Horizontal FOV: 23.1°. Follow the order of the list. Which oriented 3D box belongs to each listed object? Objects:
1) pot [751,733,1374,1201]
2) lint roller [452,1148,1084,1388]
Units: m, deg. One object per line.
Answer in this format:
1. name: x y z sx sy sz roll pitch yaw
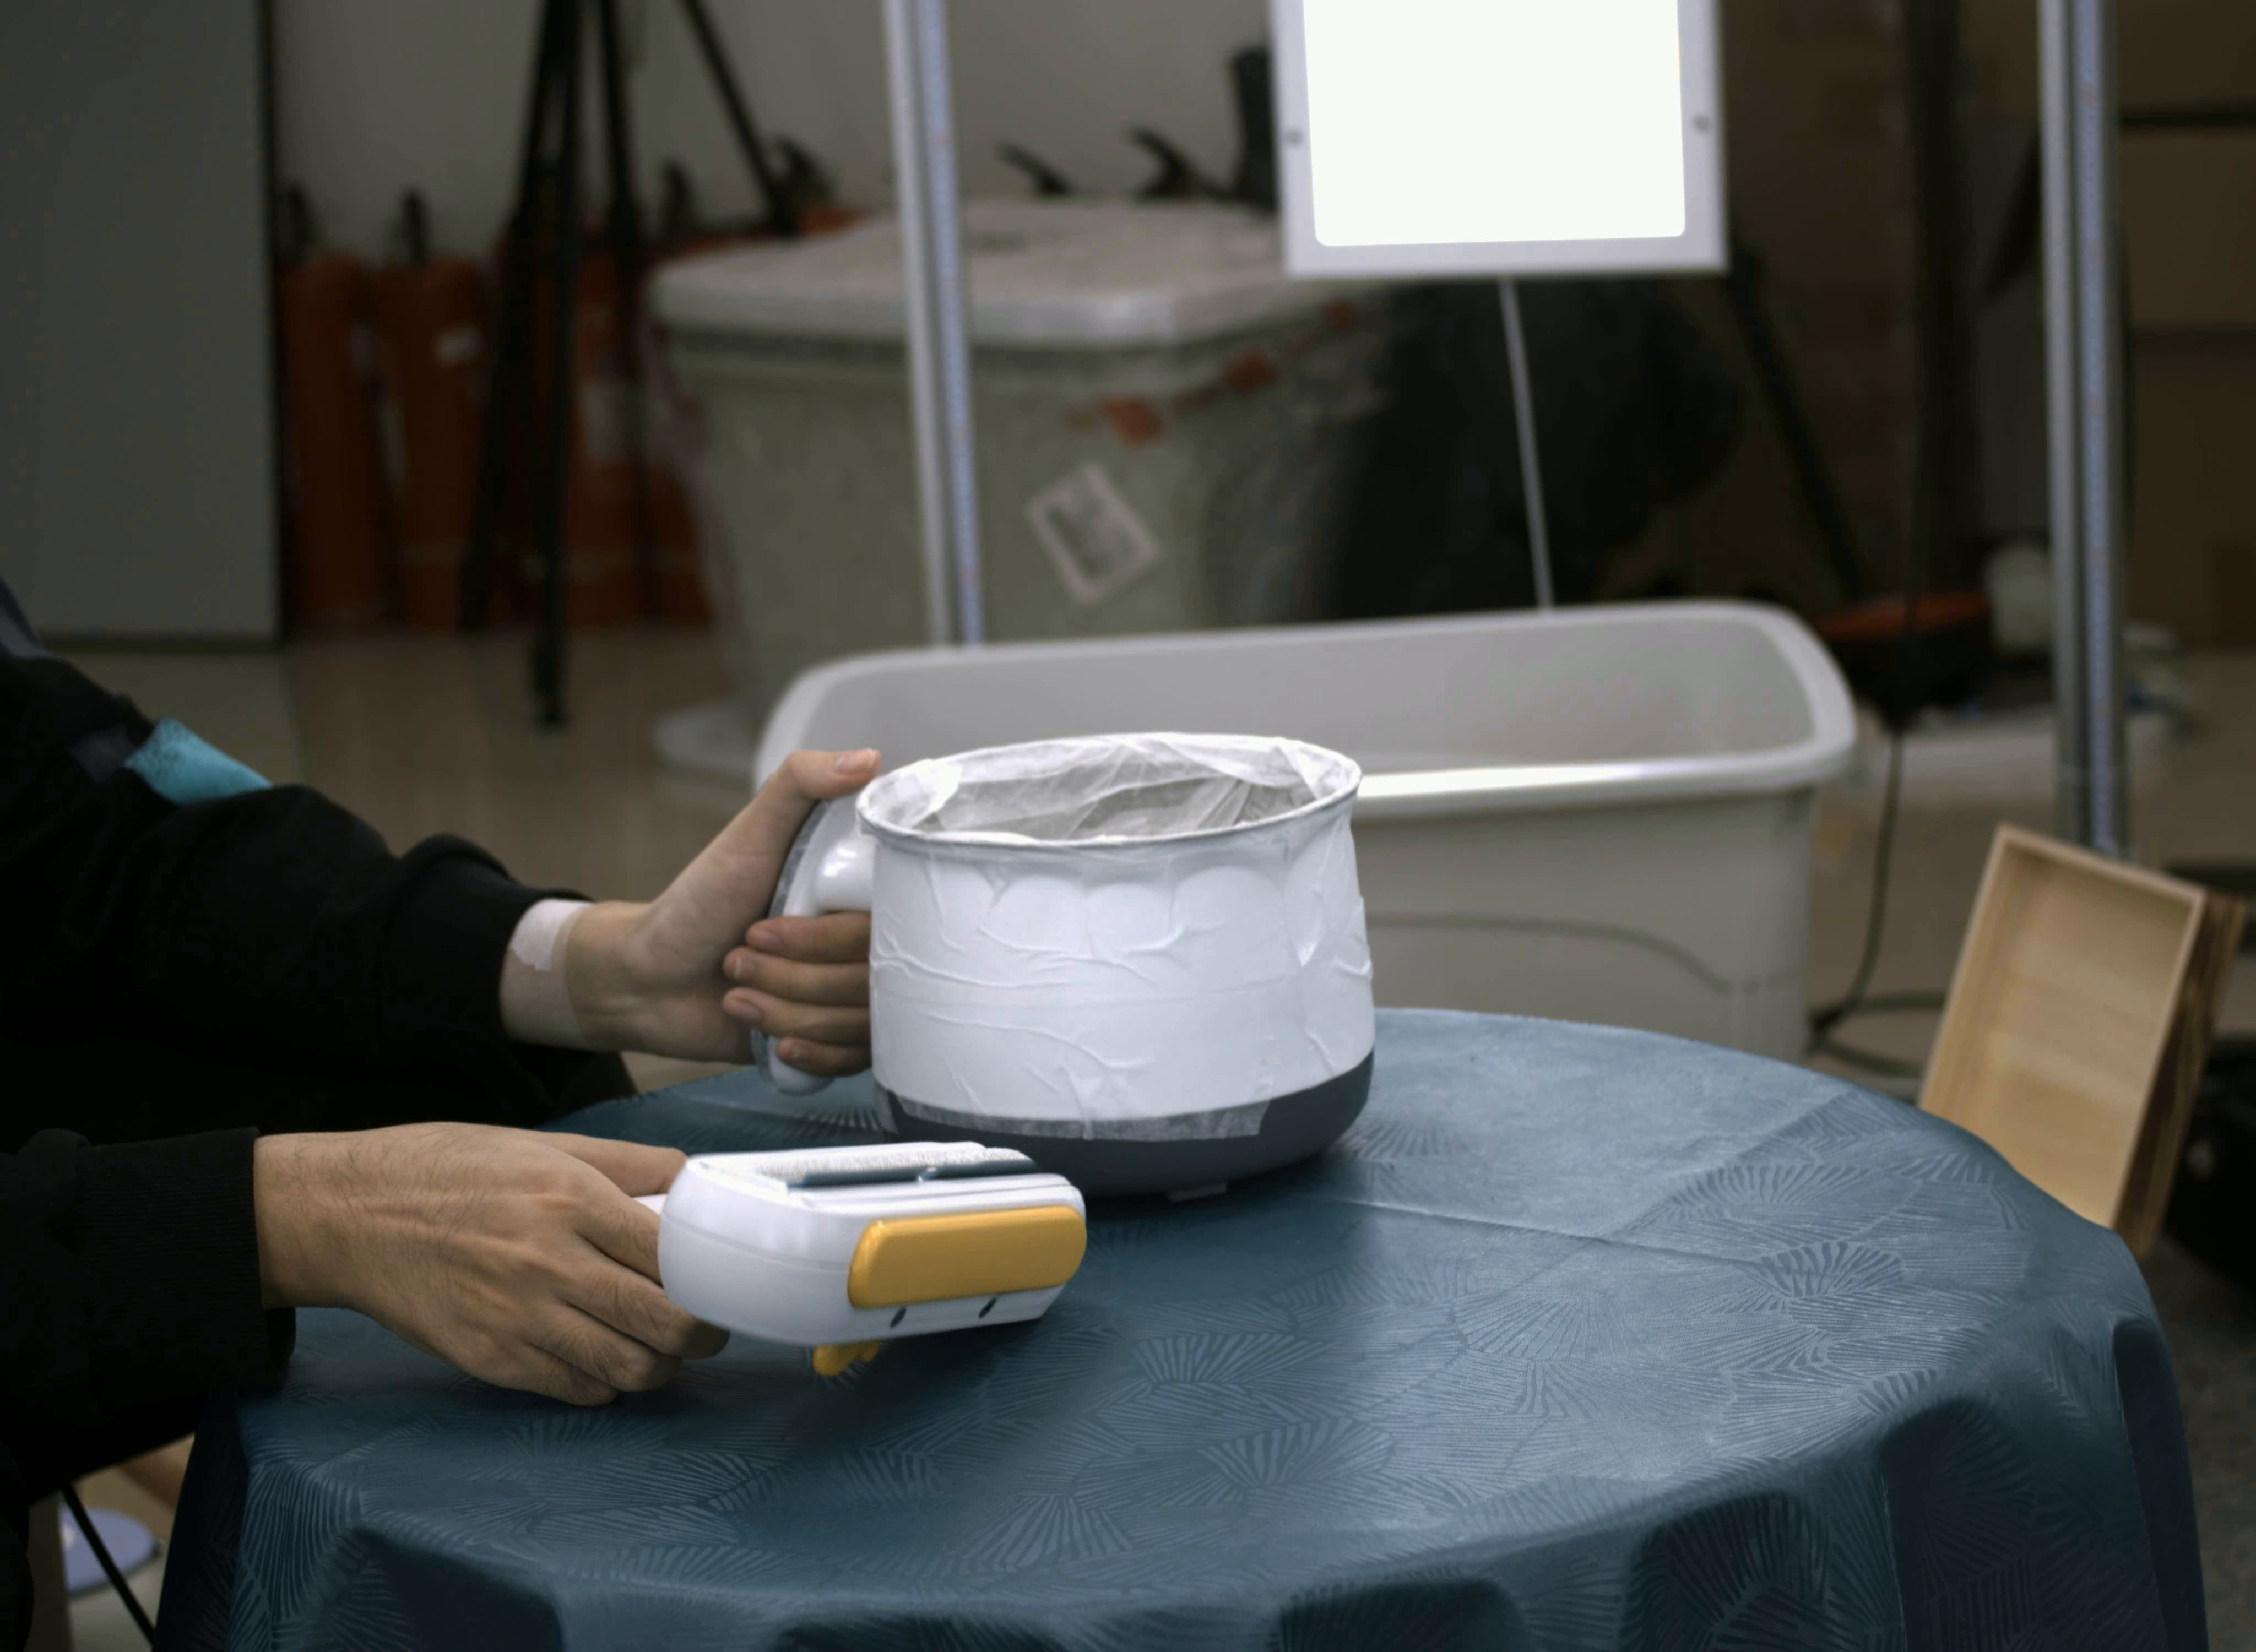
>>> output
1. pot: -0.028 0.046 1.932 0.237 0.137 0.175 3 13 25
2. lint roller: -0.132 0.131 1.743 0.196 0.074 0.188 7 8 32
